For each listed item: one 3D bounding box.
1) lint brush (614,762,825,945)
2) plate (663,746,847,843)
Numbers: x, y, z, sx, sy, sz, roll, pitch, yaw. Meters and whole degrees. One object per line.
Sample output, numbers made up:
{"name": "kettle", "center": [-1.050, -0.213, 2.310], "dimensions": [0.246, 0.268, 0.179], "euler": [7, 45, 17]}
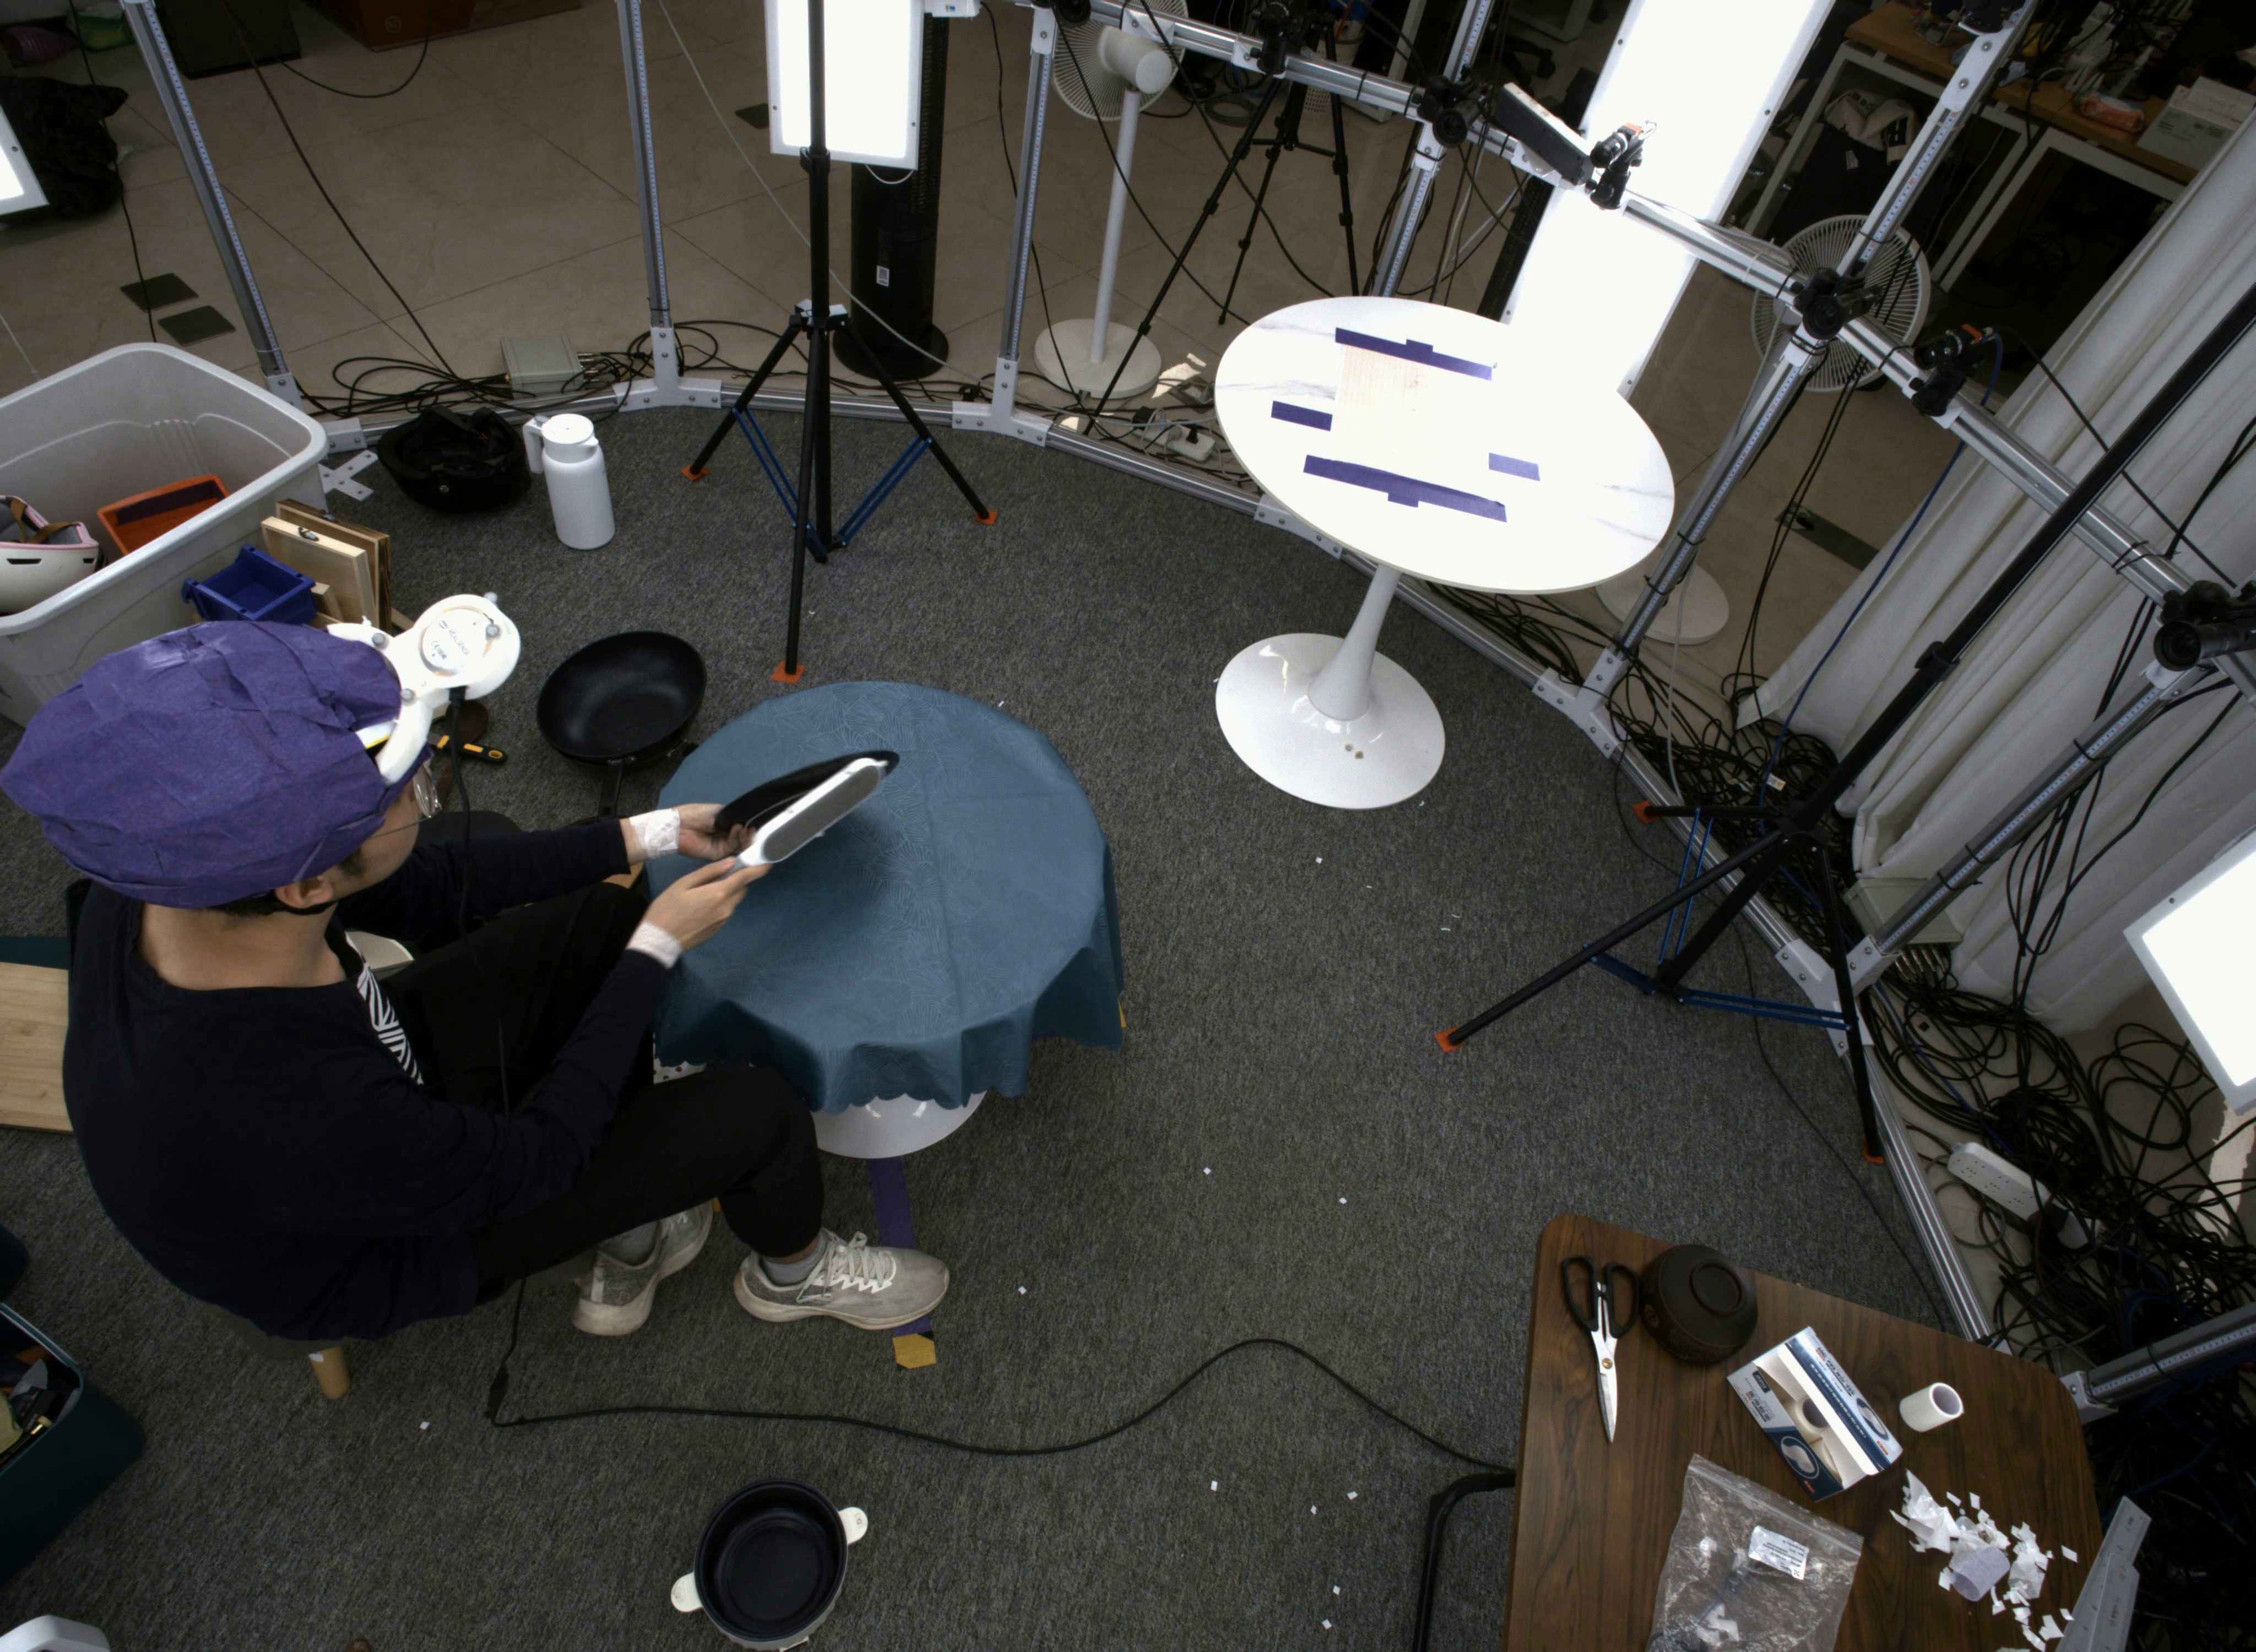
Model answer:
{"name": "lint brush", "center": [-0.476, 0.028, 1.504], "dimensions": [0.020, 0.062, 0.309], "euler": [38, 69, 24]}
{"name": "plate", "center": [-0.458, -0.032, 1.607], "dimensions": [0.245, 0.243, 0.023], "euler": [-24, 82, -28]}
